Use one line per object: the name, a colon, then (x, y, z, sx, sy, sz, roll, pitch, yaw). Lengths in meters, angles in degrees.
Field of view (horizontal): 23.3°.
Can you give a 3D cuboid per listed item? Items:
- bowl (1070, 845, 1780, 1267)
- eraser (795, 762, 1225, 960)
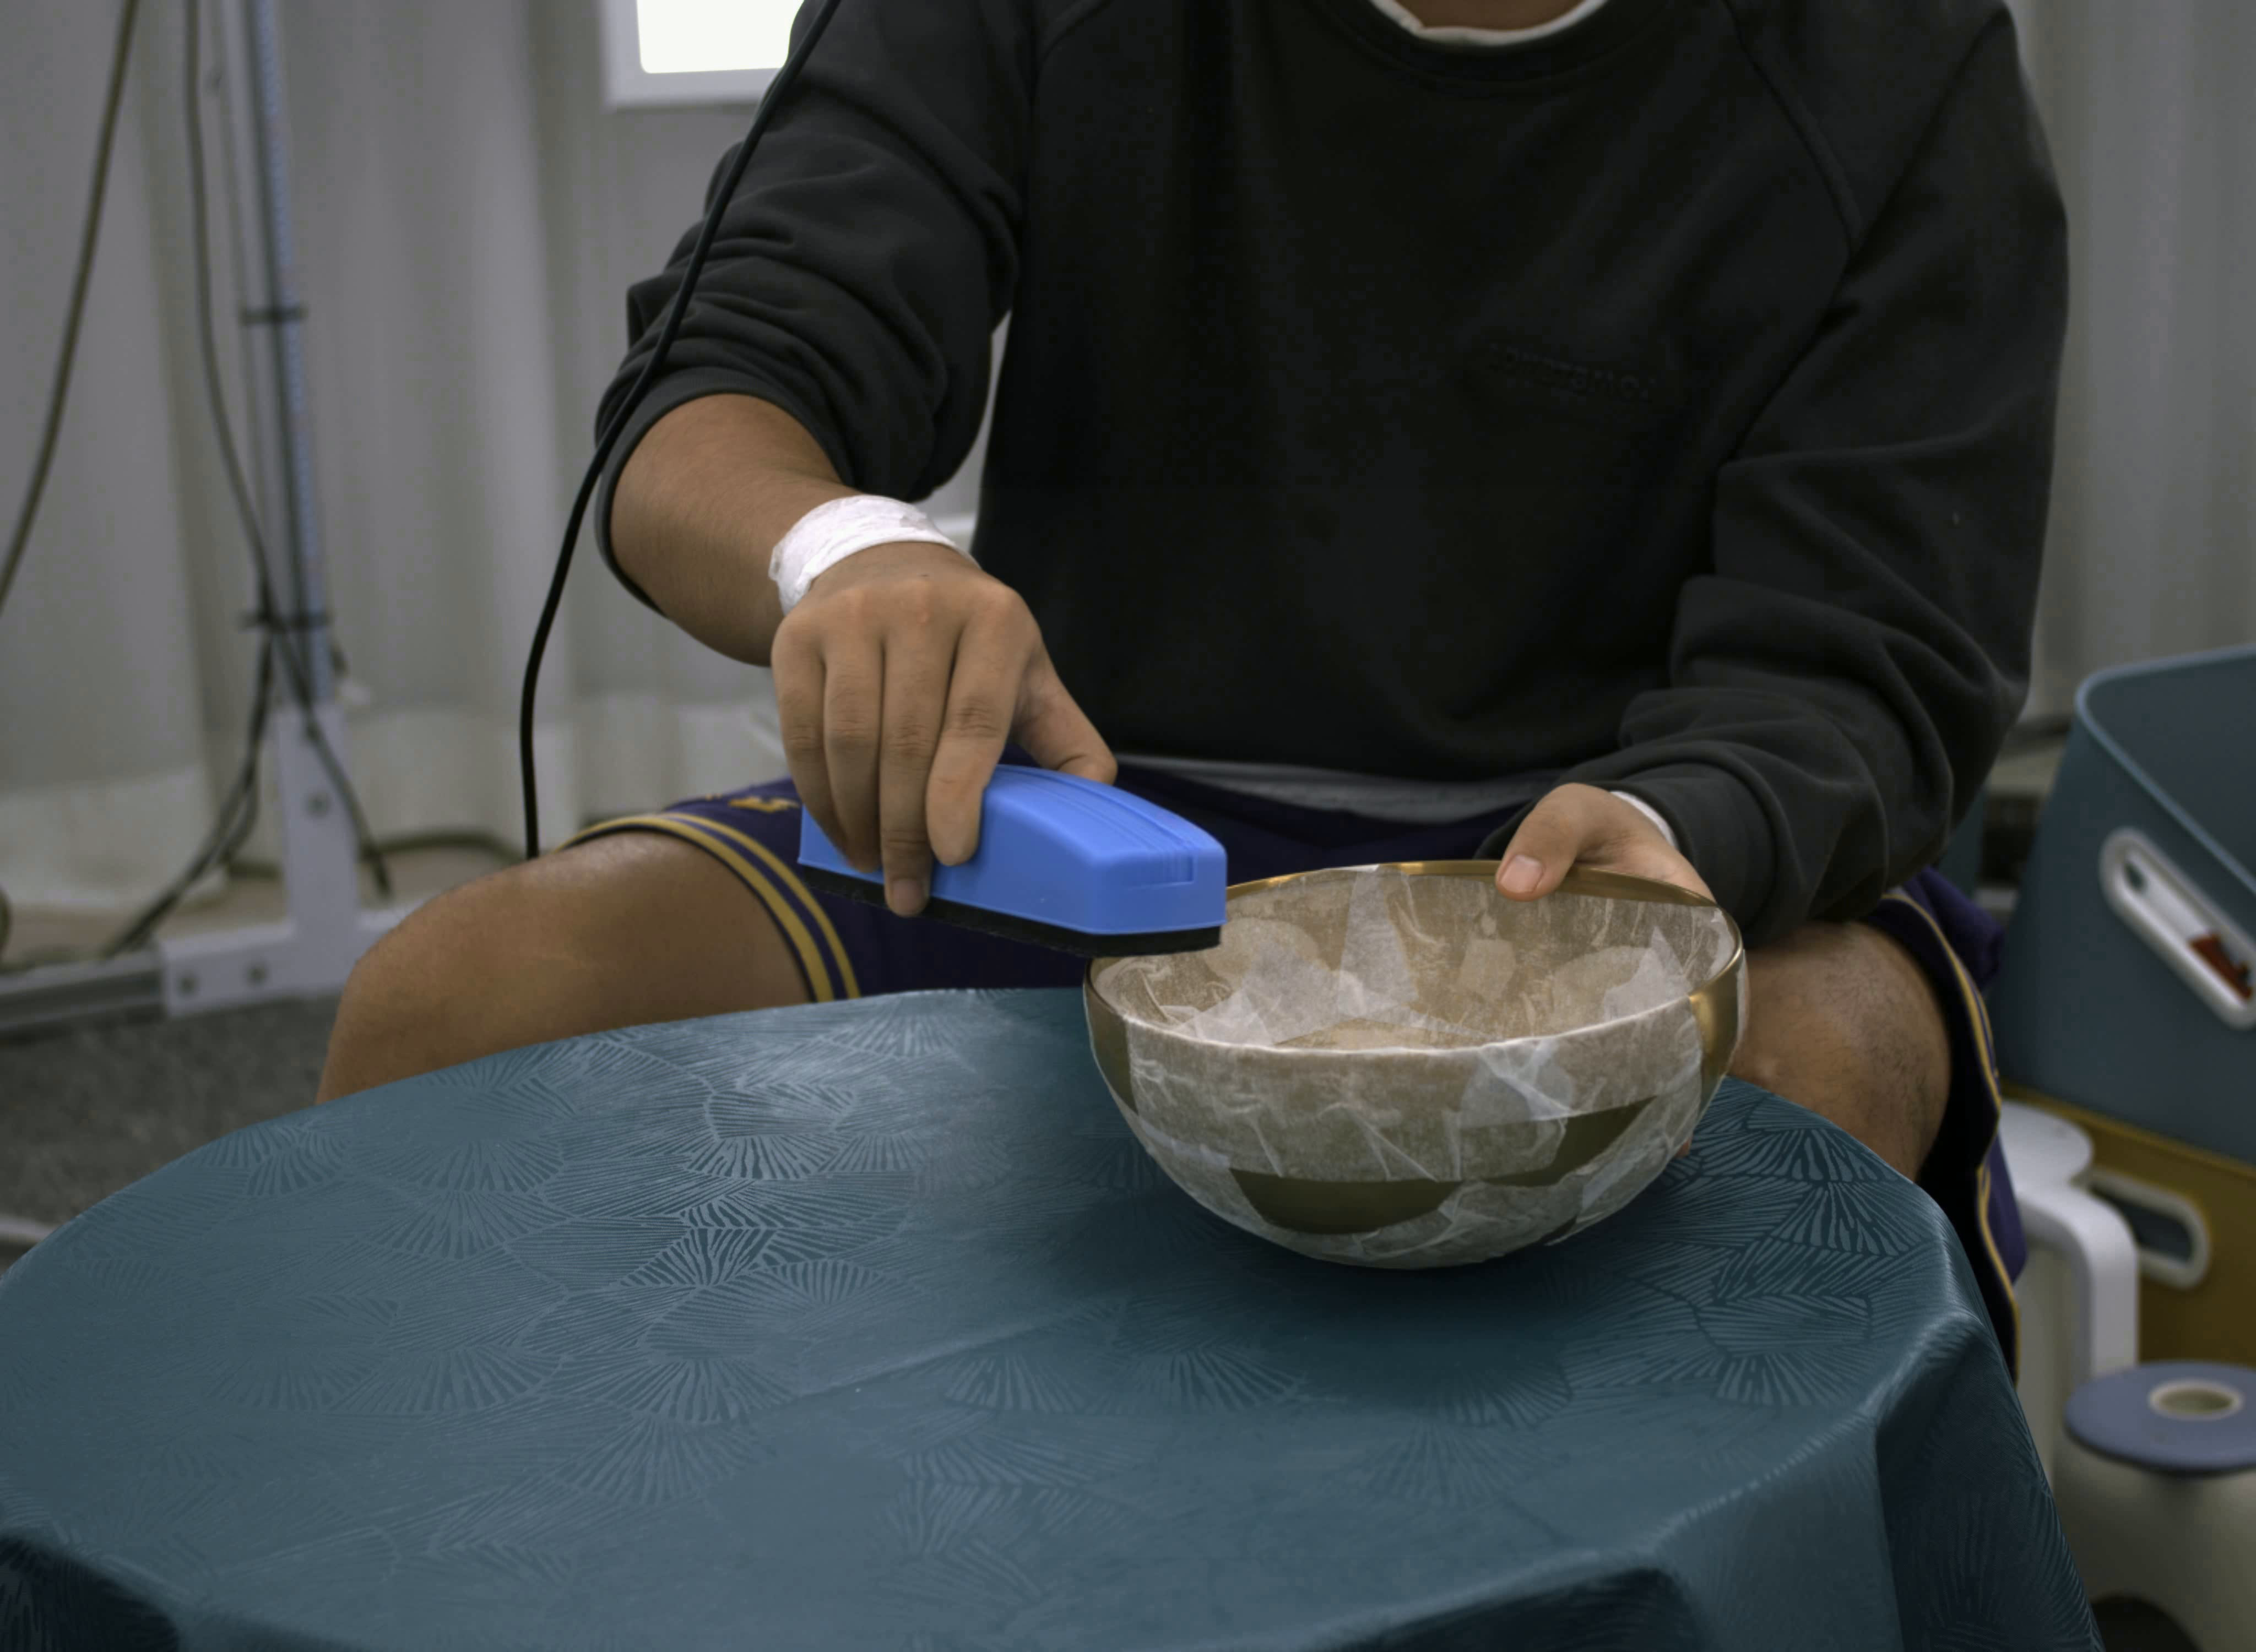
bowl: (0.090, 0.078, 1.655, 0.214, 0.094, 0.216, -4, 15, 1)
eraser: (-0.038, 0.006, 1.695, 0.053, 0.047, 0.163, -8, 12, -39)
